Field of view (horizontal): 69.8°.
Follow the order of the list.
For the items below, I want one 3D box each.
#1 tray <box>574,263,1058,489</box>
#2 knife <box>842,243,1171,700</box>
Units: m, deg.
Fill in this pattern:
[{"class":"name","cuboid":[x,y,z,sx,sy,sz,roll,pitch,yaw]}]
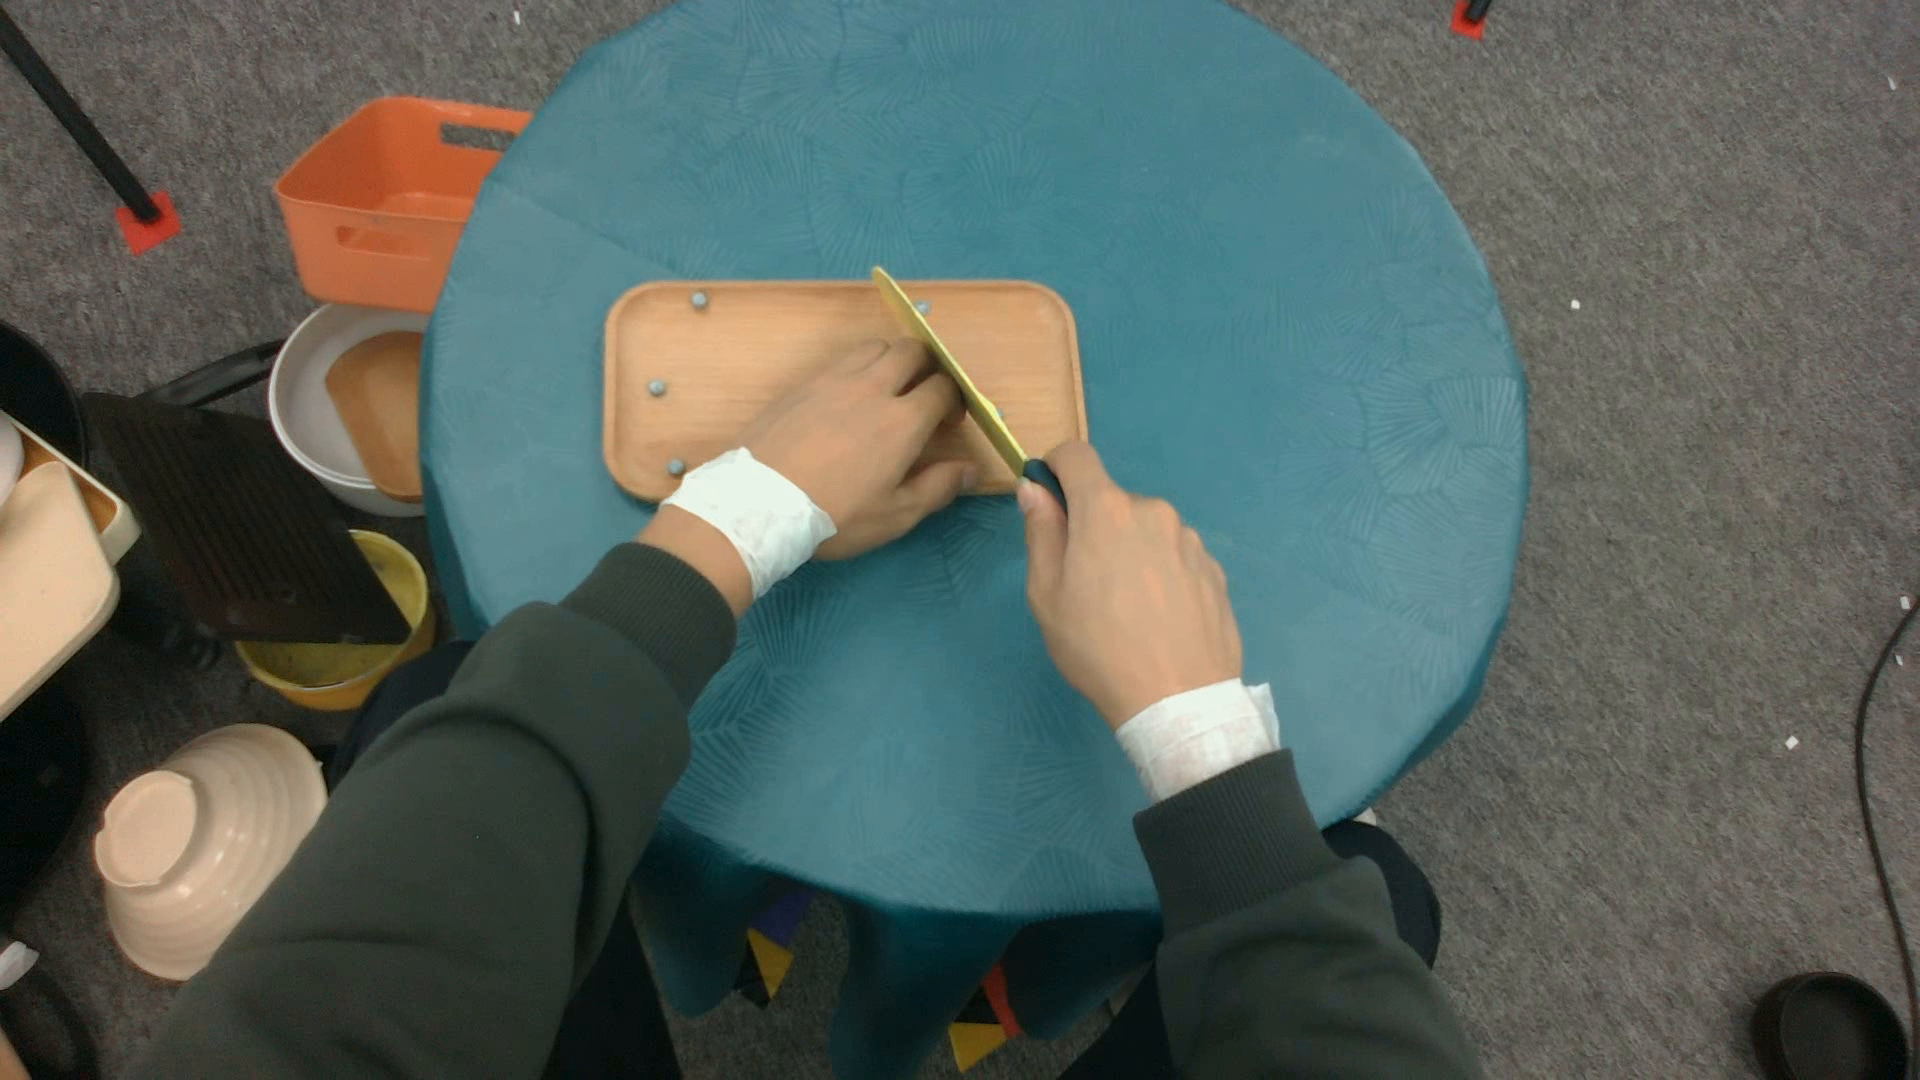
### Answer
[{"class":"tray","cuboid":[-0.075,-0.088,0.732,0.251,0.023,0.131,-1,71,-11]},{"class":"knife","cuboid":[0.014,-0.041,0.671,0.027,0.081,0.290,-33,69,-1]}]
